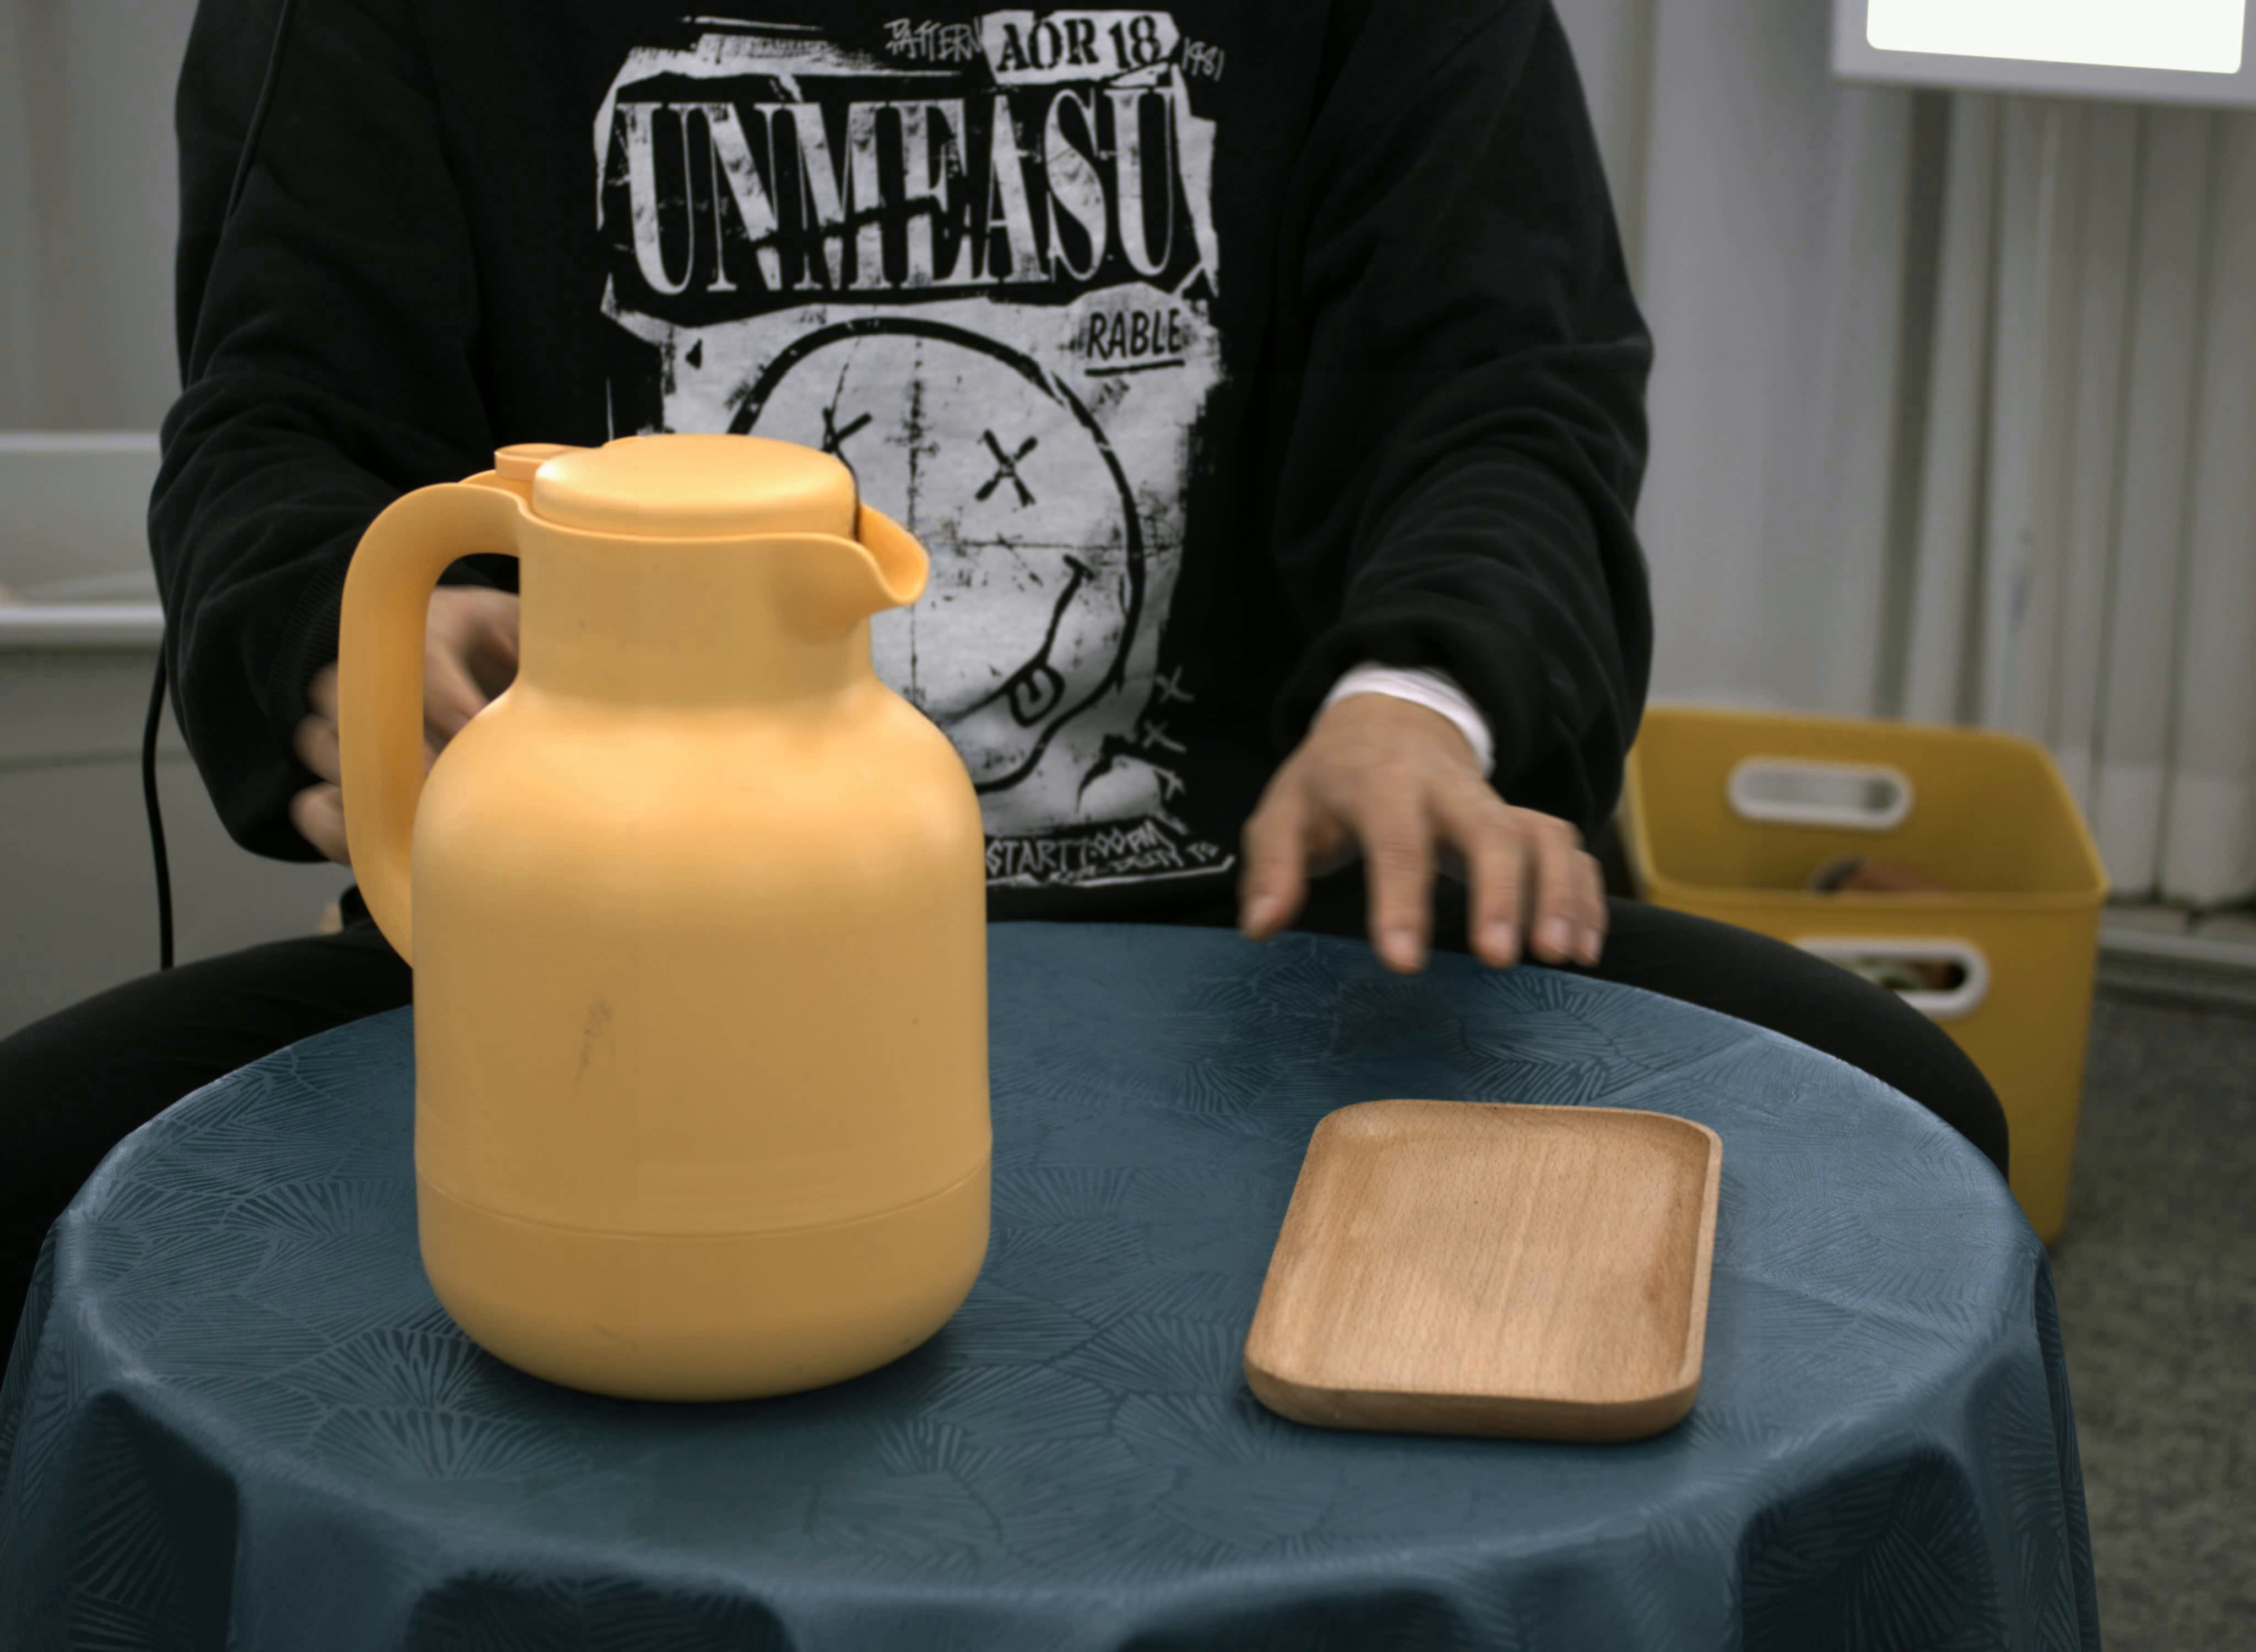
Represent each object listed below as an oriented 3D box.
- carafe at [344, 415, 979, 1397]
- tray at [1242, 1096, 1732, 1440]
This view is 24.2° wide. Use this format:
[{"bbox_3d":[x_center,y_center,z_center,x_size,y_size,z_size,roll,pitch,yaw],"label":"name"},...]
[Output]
[{"bbox_3d":[-0.137,0.014,1.476,0.200,0.262,0.164,14,18,33],"label":"carafe"},{"bbox_3d":[0.109,0.126,1.543,0.130,0.023,0.250,5,15,8],"label":"tray"}]
